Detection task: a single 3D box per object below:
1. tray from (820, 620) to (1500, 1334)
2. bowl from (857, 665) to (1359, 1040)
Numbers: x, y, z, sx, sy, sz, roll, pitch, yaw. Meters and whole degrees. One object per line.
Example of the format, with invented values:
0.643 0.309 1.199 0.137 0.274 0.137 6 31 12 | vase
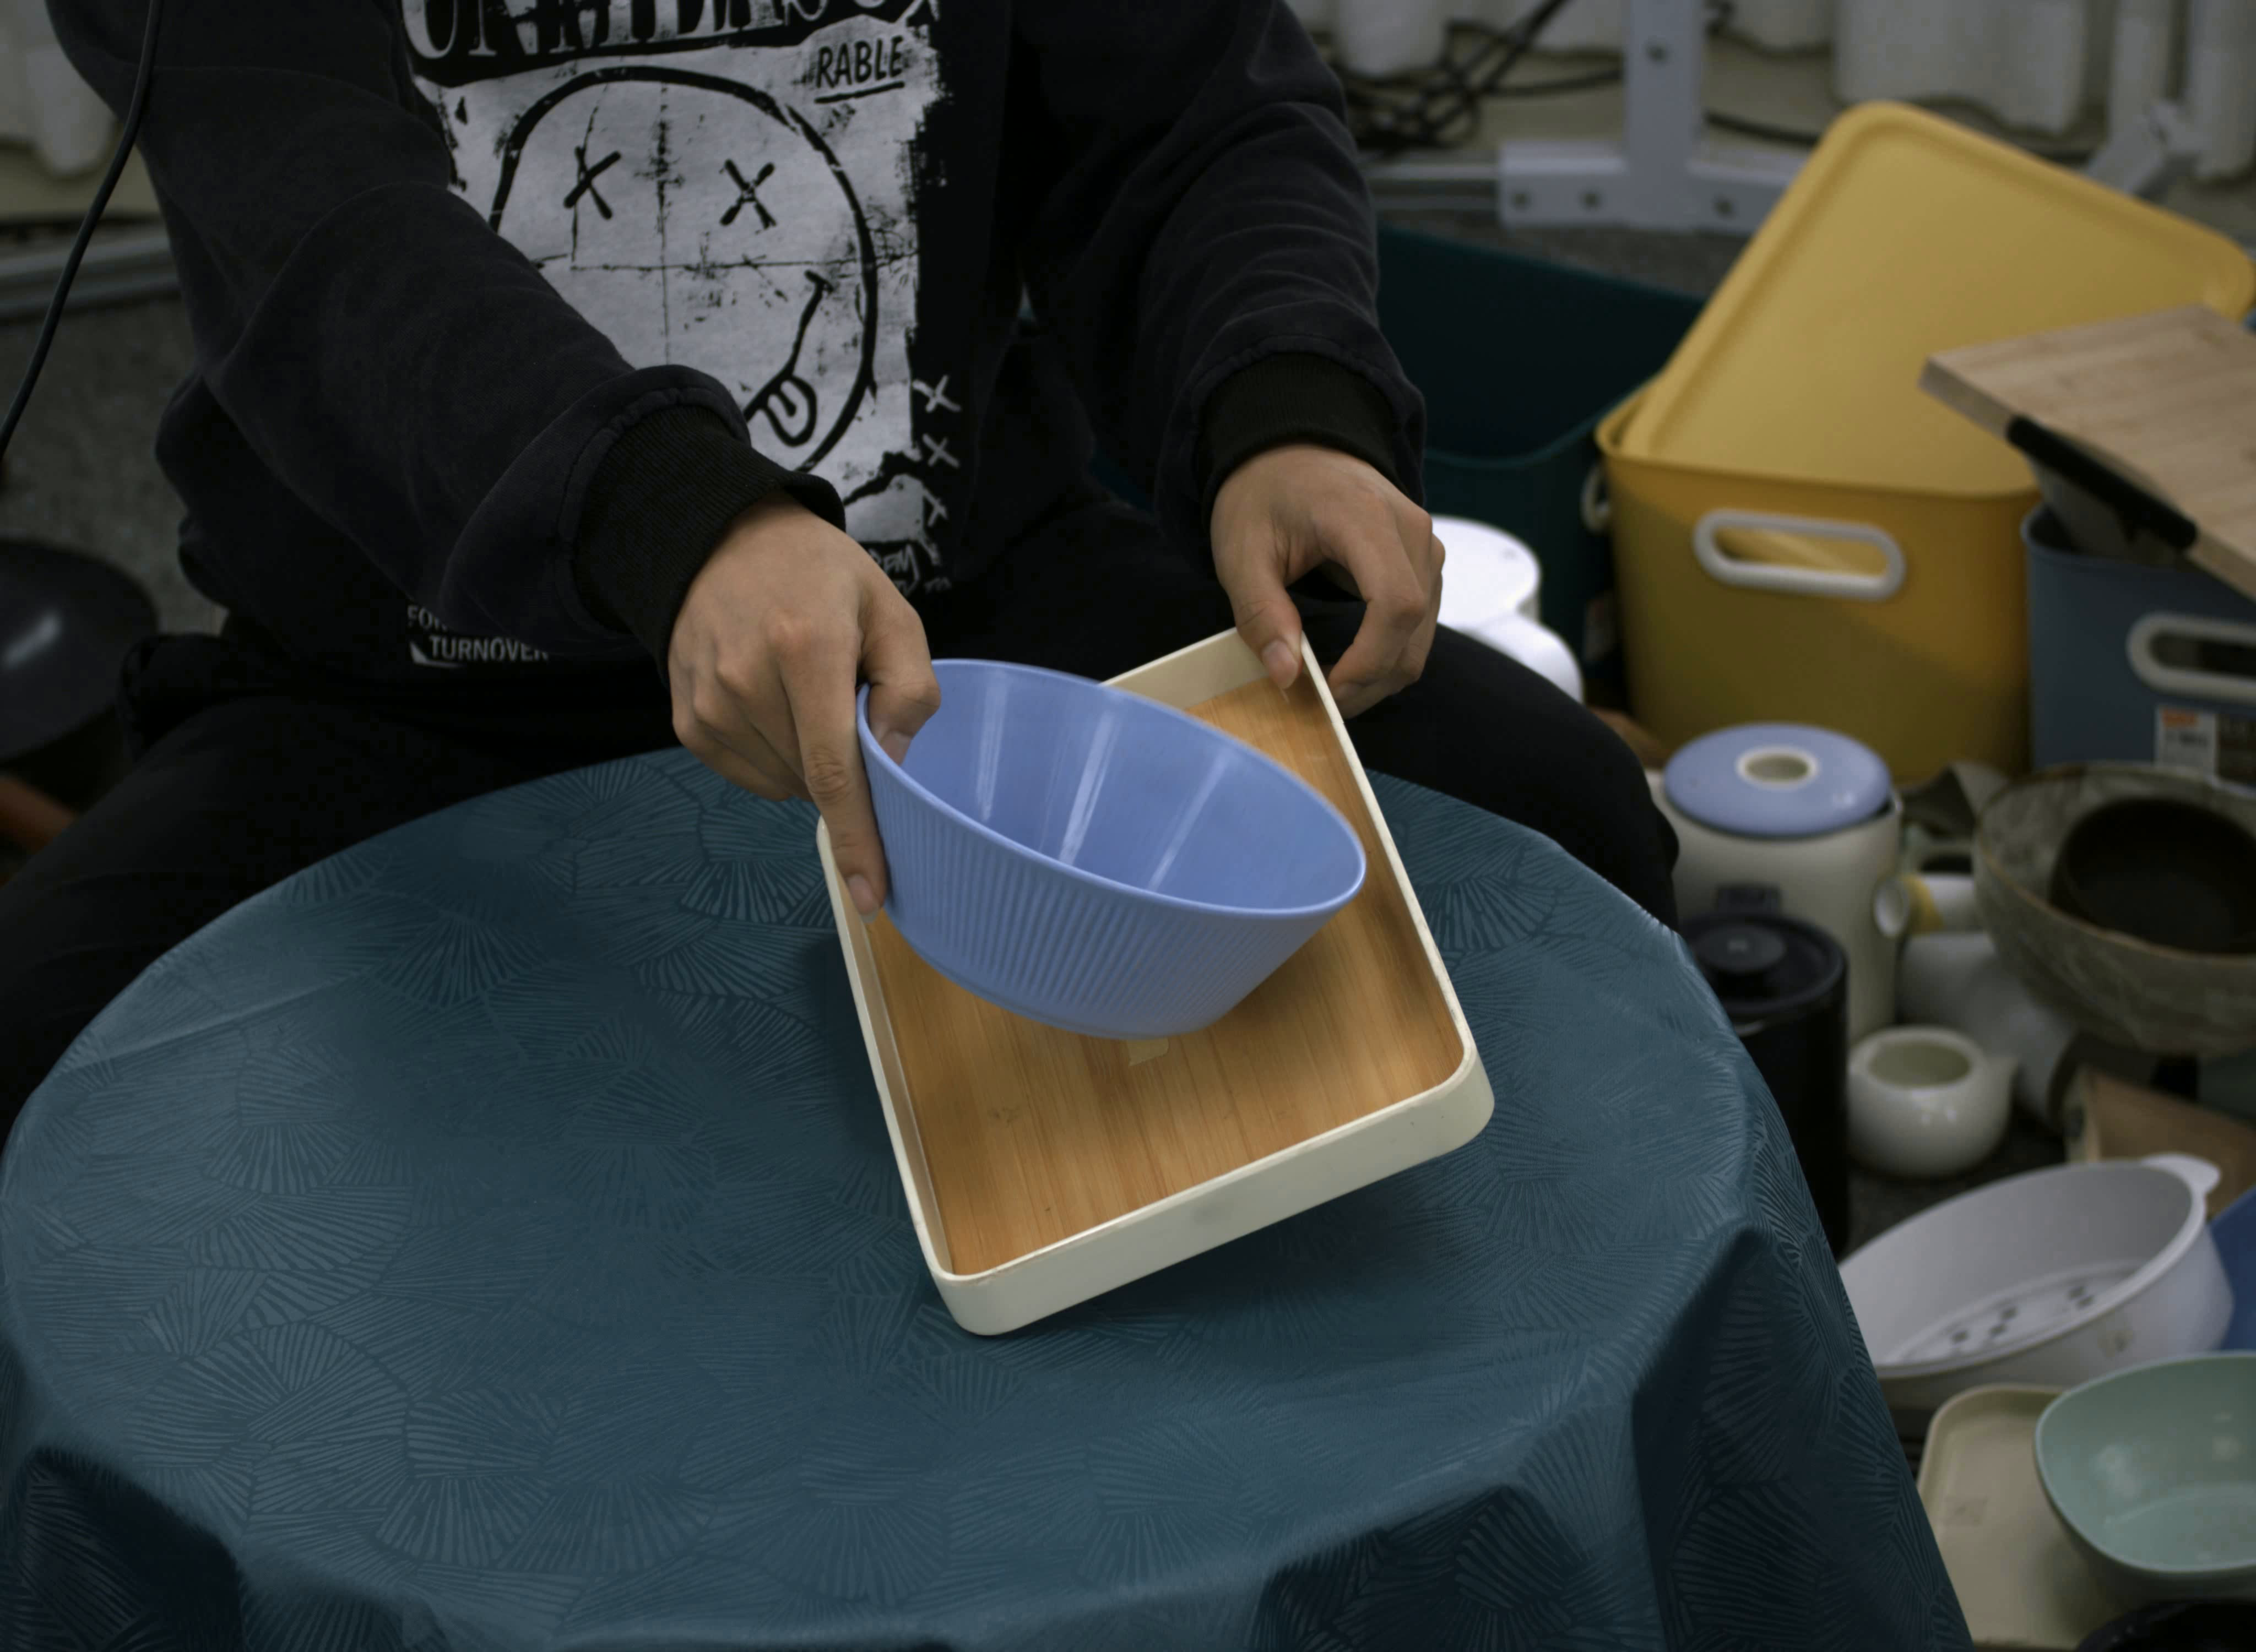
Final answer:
0.004 0.045 1.900 0.191 0.027 0.304 -22 33 2 | tray
-0.017 0.014 1.844 0.175 0.070 0.178 20 18 -6 | bowl
